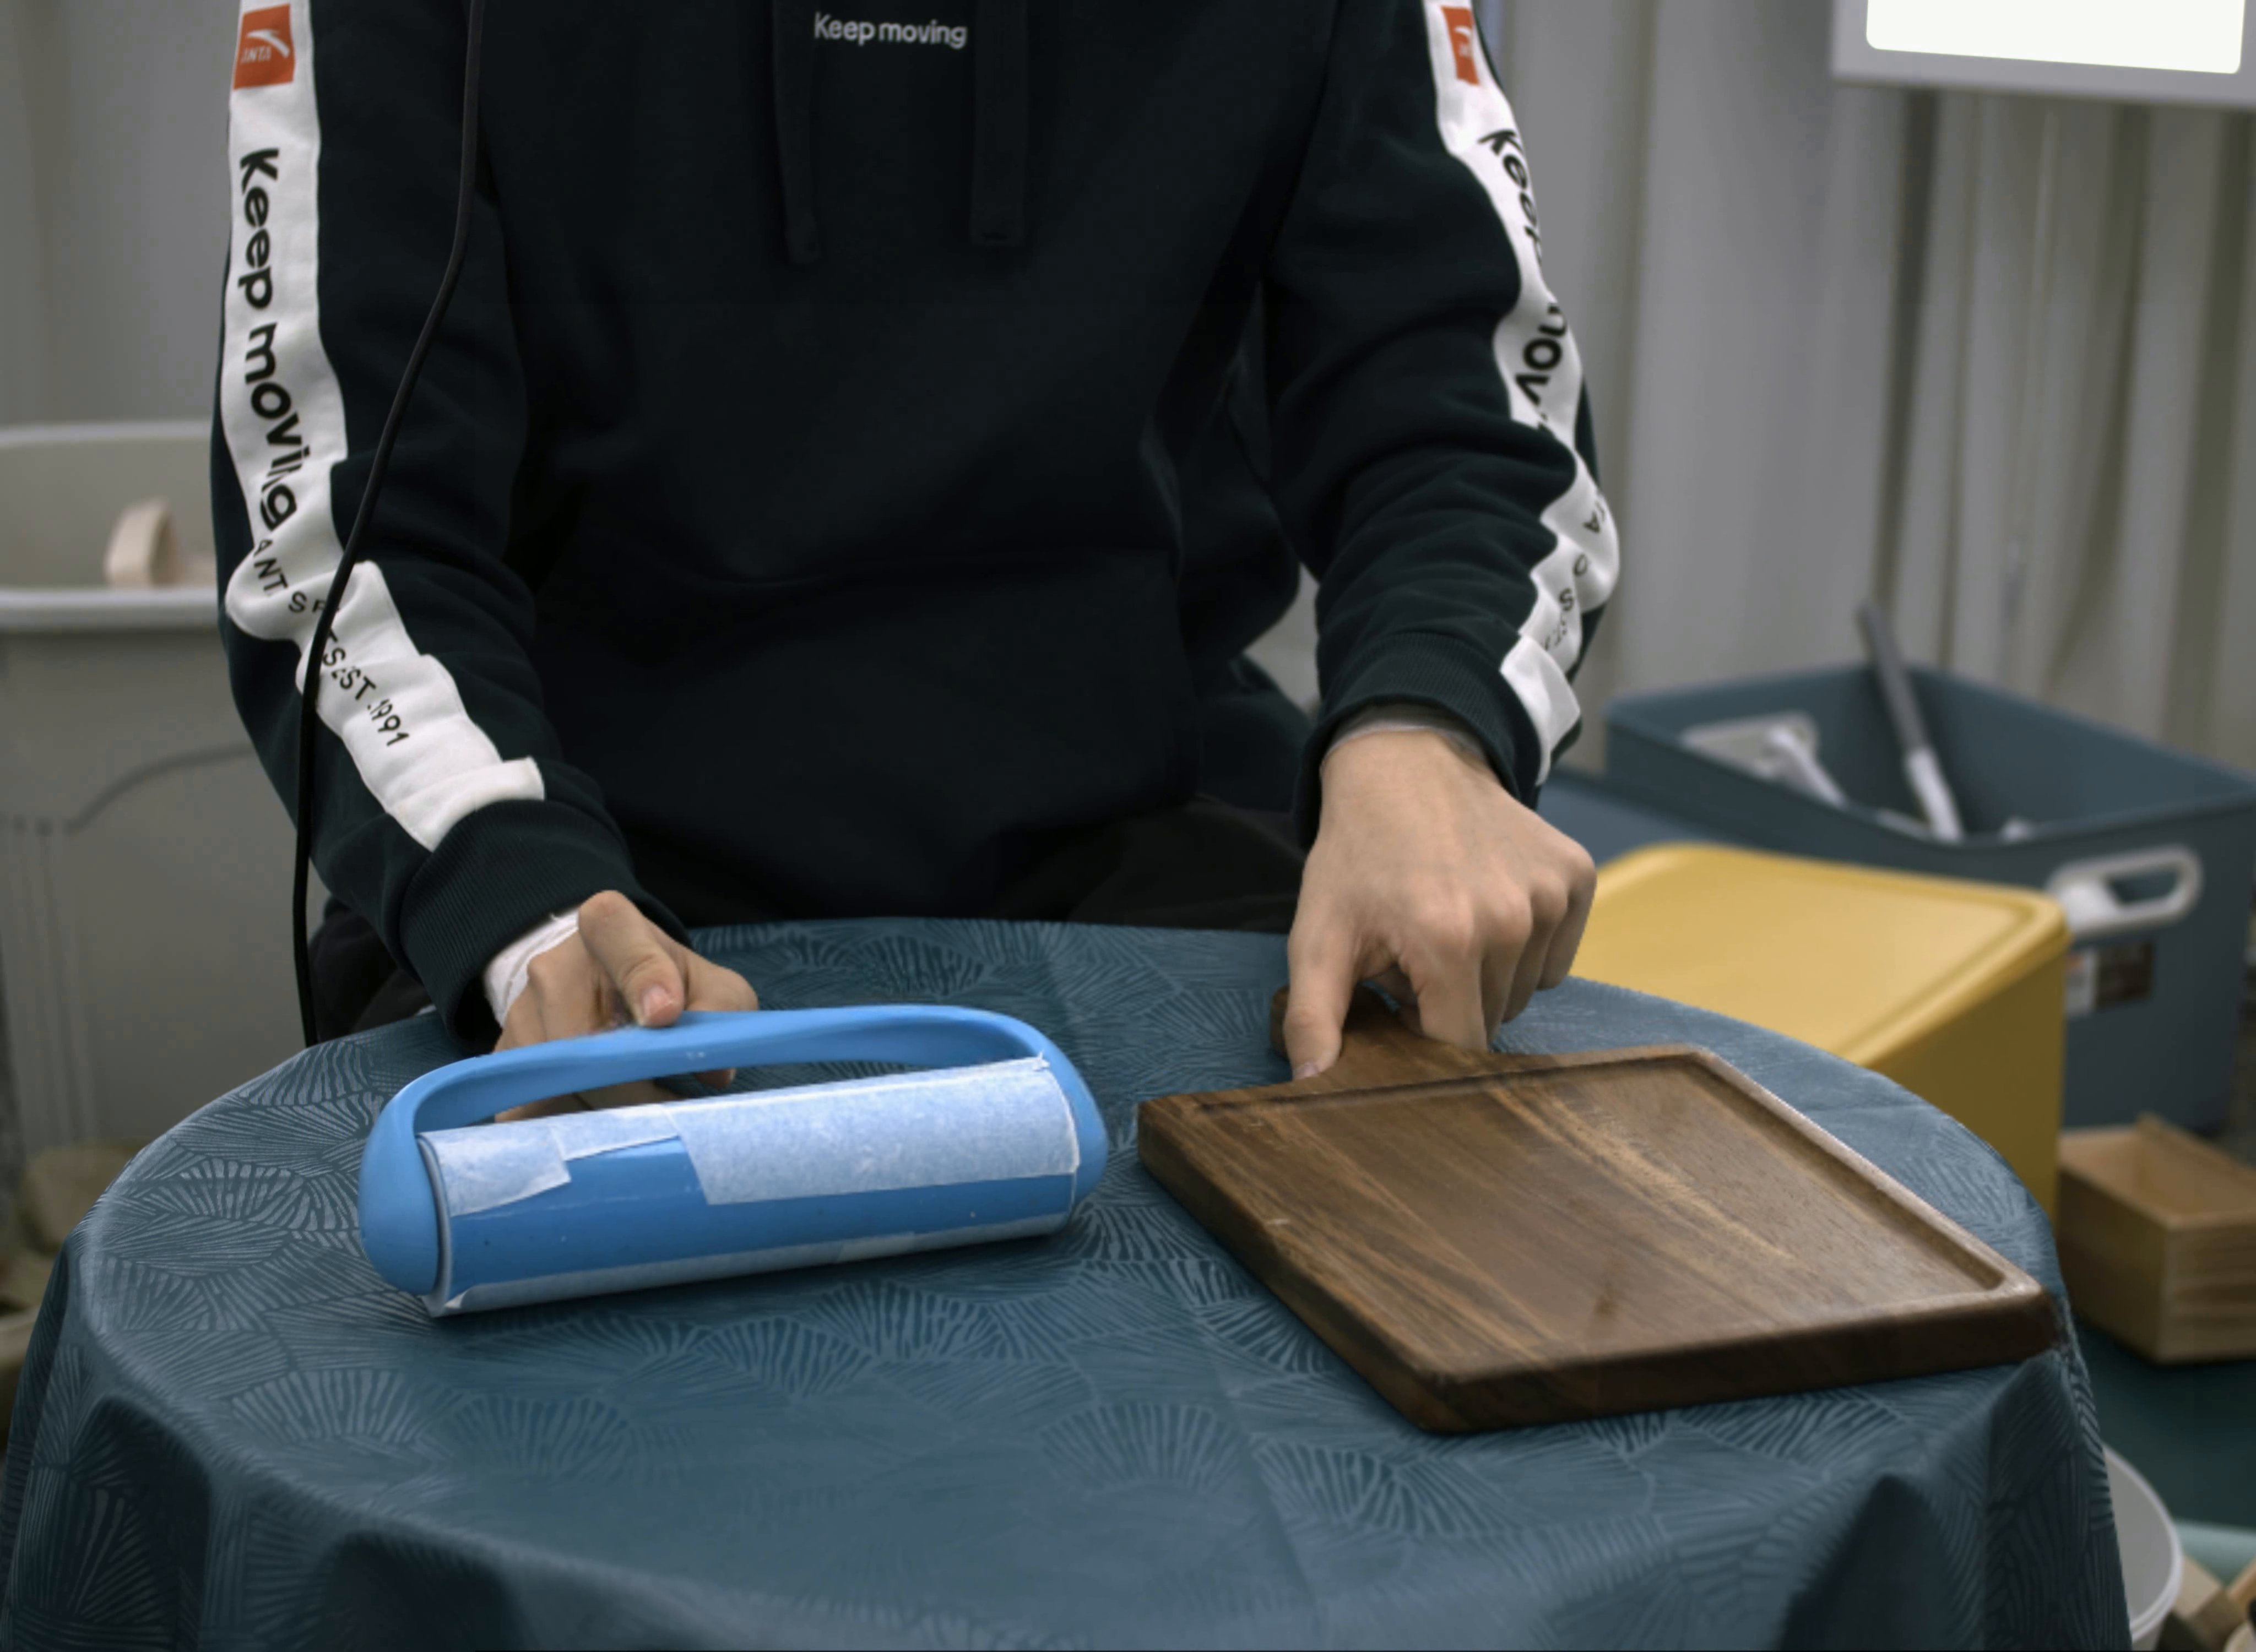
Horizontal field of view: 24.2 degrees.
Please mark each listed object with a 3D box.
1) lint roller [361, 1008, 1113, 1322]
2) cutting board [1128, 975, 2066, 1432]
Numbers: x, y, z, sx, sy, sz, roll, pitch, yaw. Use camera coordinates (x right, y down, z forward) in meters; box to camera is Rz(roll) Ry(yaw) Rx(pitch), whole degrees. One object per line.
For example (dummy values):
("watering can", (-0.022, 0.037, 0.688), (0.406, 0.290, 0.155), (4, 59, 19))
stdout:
("lint roller", (-0.137, 0.089, 1.592), (0.229, 0.068, 0.178), (-8, 19, -24))
("cutting board", (0.116, 0.104, 1.609), (0.201, 0.023, 0.348), (-4, 16, -20))
